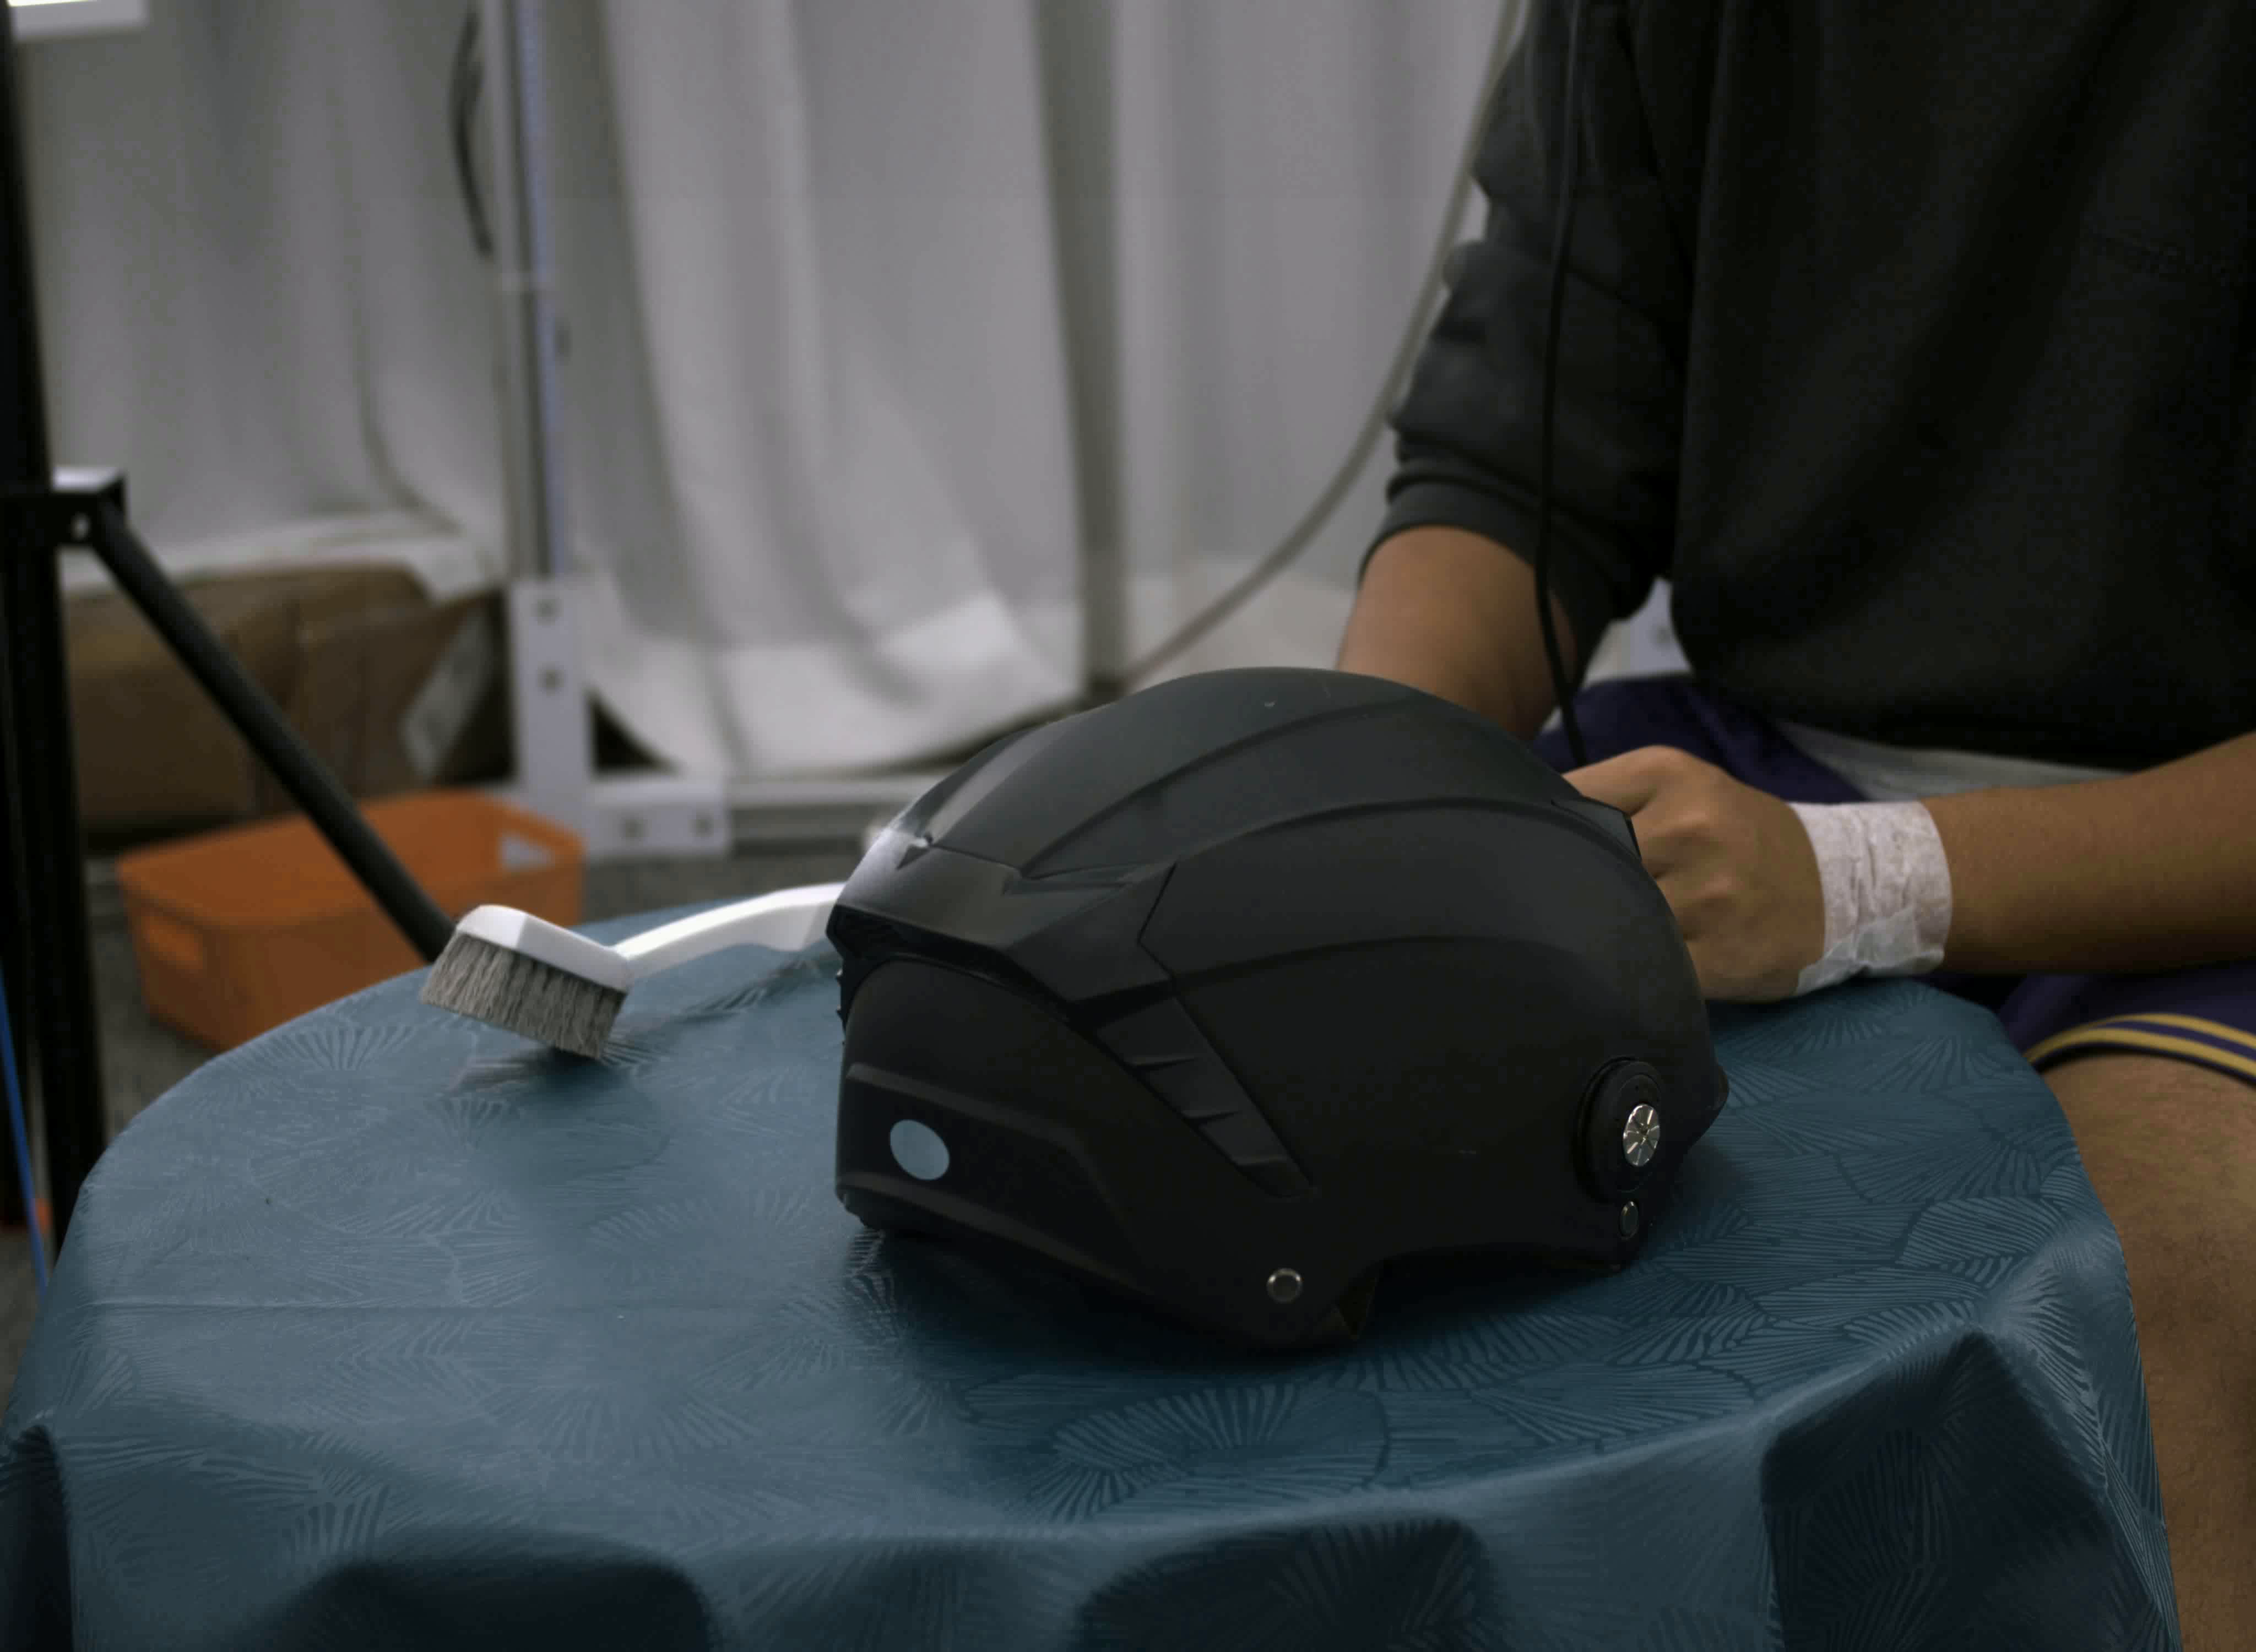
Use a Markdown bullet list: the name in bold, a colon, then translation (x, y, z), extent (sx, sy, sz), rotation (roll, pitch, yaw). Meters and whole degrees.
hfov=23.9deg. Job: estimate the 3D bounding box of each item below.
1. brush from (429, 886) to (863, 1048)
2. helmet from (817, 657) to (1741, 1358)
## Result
- **brush**: translation (-0.135, 0.046, 1.762), extent (0.035, 0.050, 0.237), rotation (10, 6, 39)
- **helmet**: translation (0.043, 0.038, 1.509), extent (0.270, 0.172, 0.252), rotation (-19, 22, -37)
